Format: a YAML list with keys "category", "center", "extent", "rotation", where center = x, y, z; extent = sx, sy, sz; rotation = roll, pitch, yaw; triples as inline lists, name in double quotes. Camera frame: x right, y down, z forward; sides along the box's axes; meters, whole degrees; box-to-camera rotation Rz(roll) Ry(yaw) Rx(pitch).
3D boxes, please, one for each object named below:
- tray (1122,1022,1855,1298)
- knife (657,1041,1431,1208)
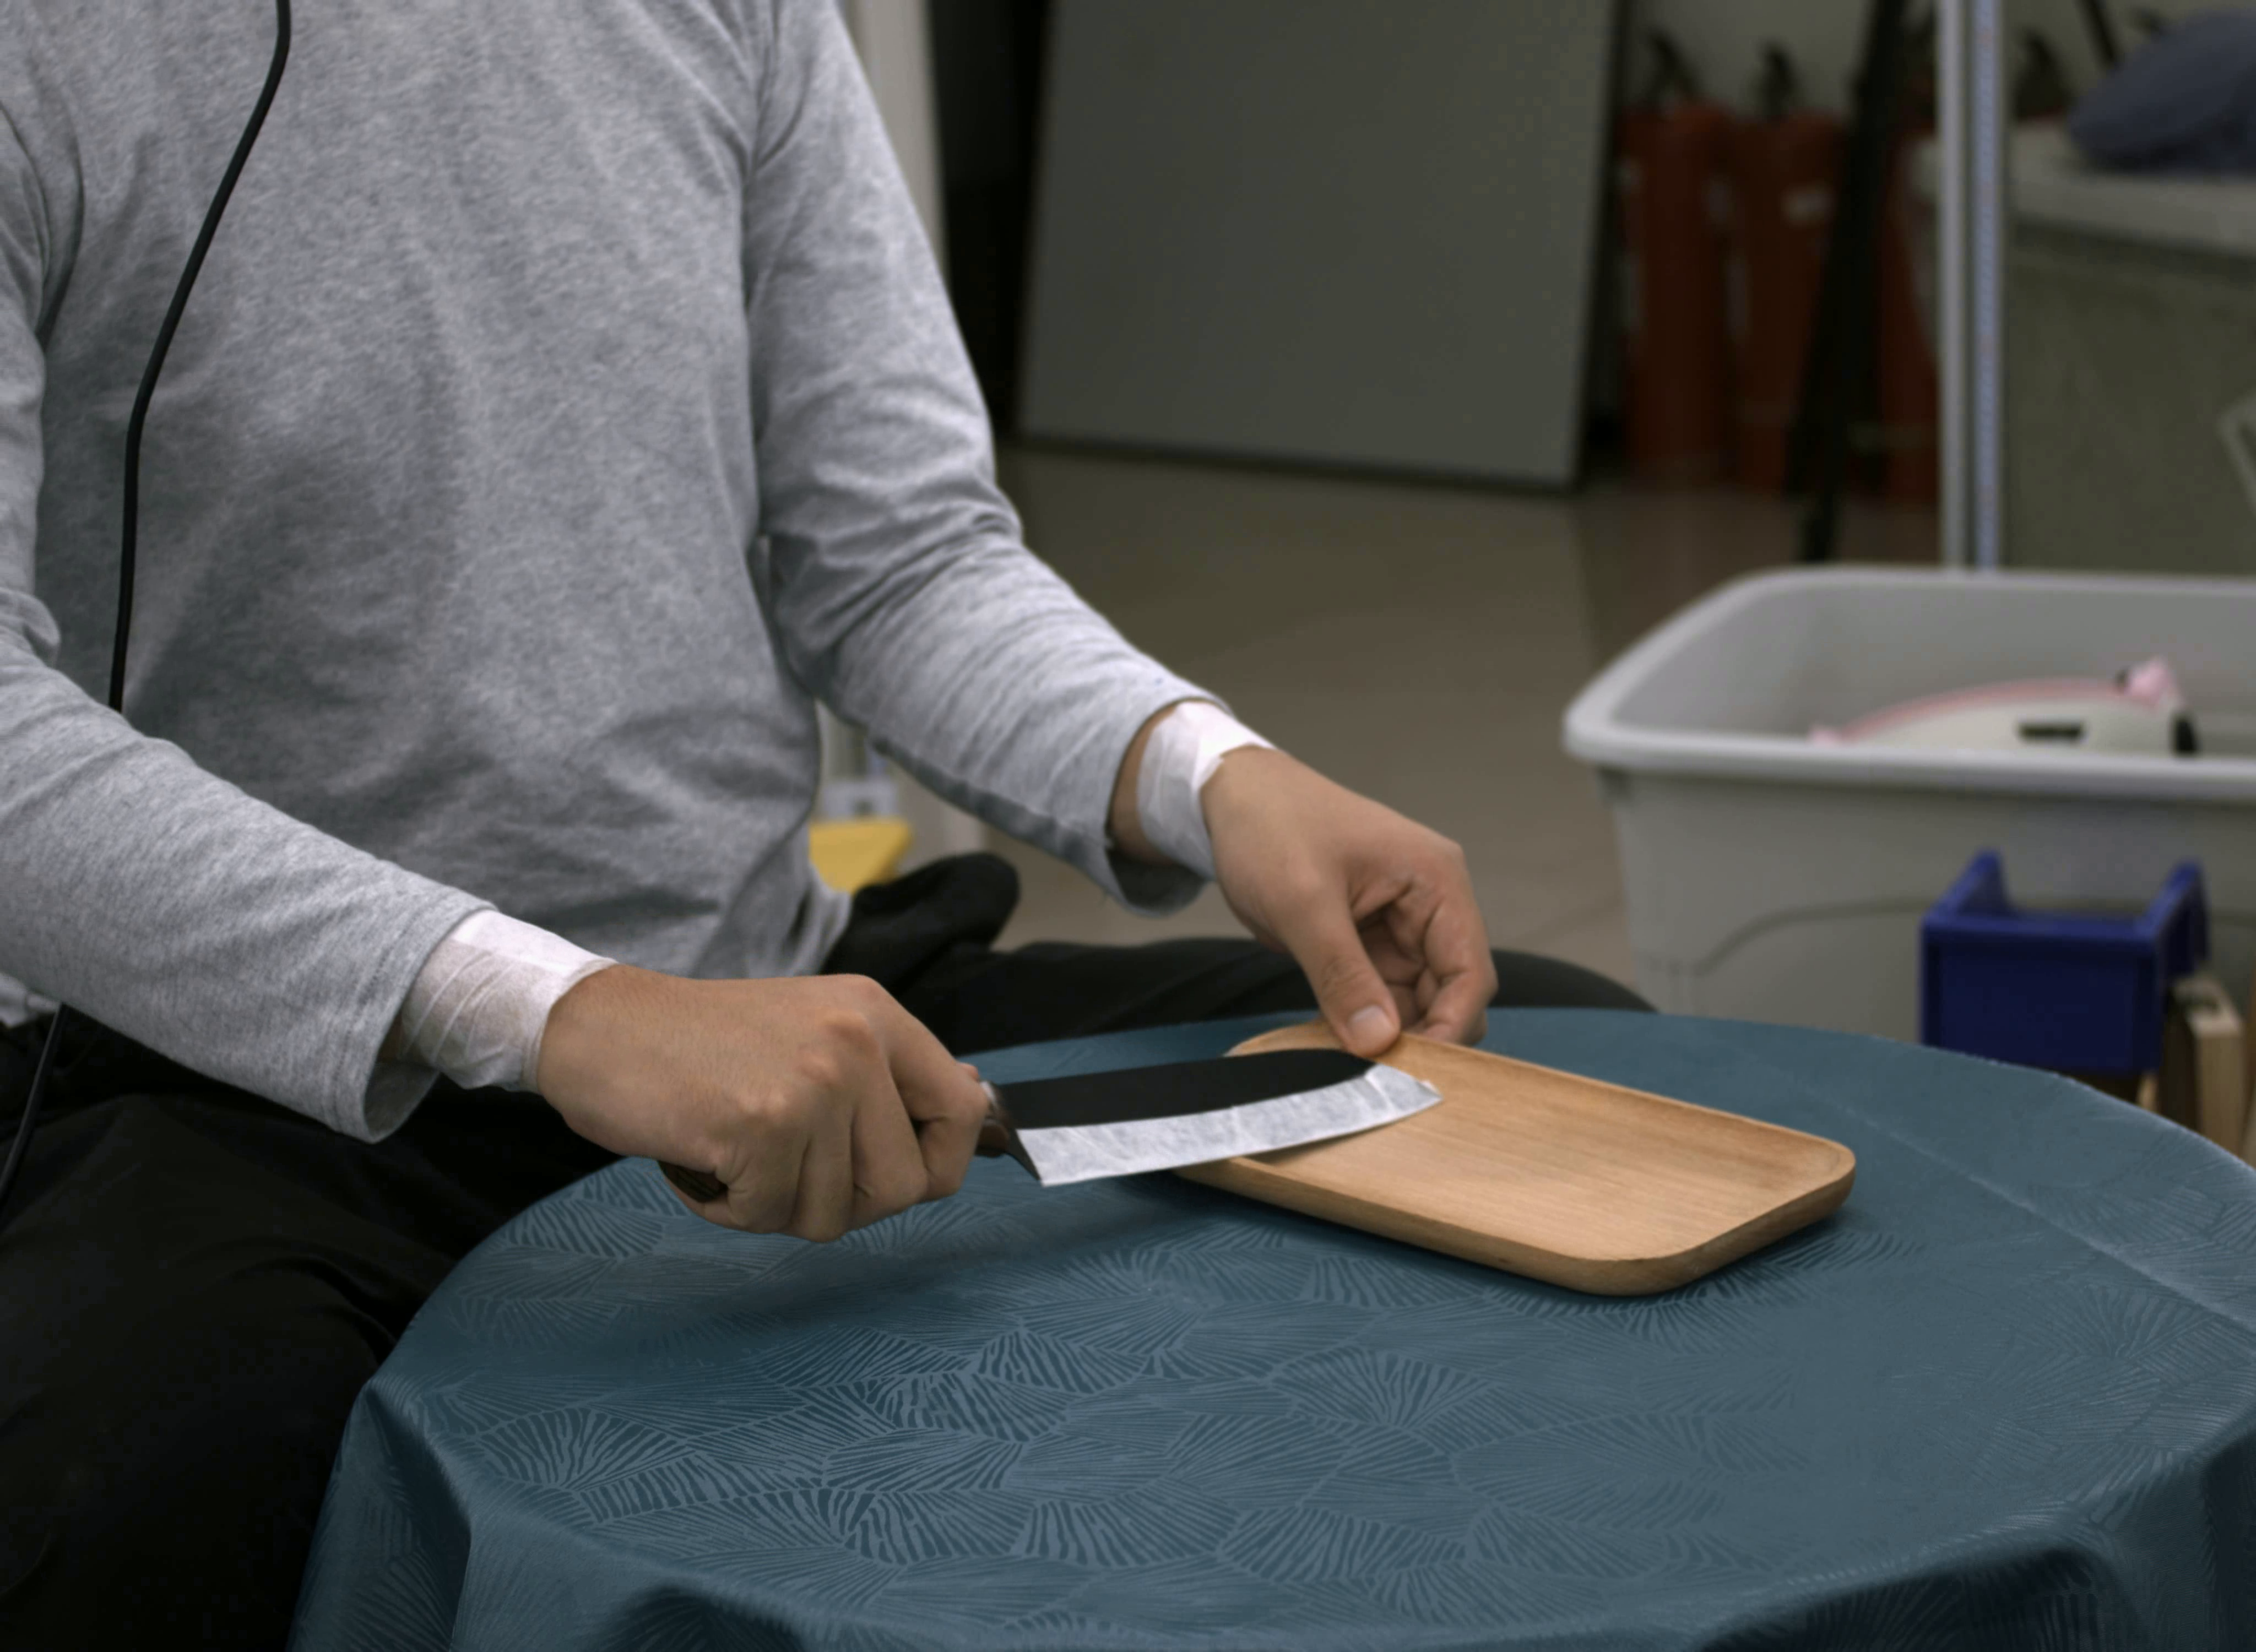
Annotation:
- category: "tray"
  center: [0.111, 0.107, 1.750]
  extent: [0.128, 0.023, 0.253]
  rotation: [-16, 19, -40]
- category: "knife"
  center: [-0.021, 0.096, 1.733]
  extent: [0.282, 0.020, 0.051]
  rotation: [-4, 46, -30]
